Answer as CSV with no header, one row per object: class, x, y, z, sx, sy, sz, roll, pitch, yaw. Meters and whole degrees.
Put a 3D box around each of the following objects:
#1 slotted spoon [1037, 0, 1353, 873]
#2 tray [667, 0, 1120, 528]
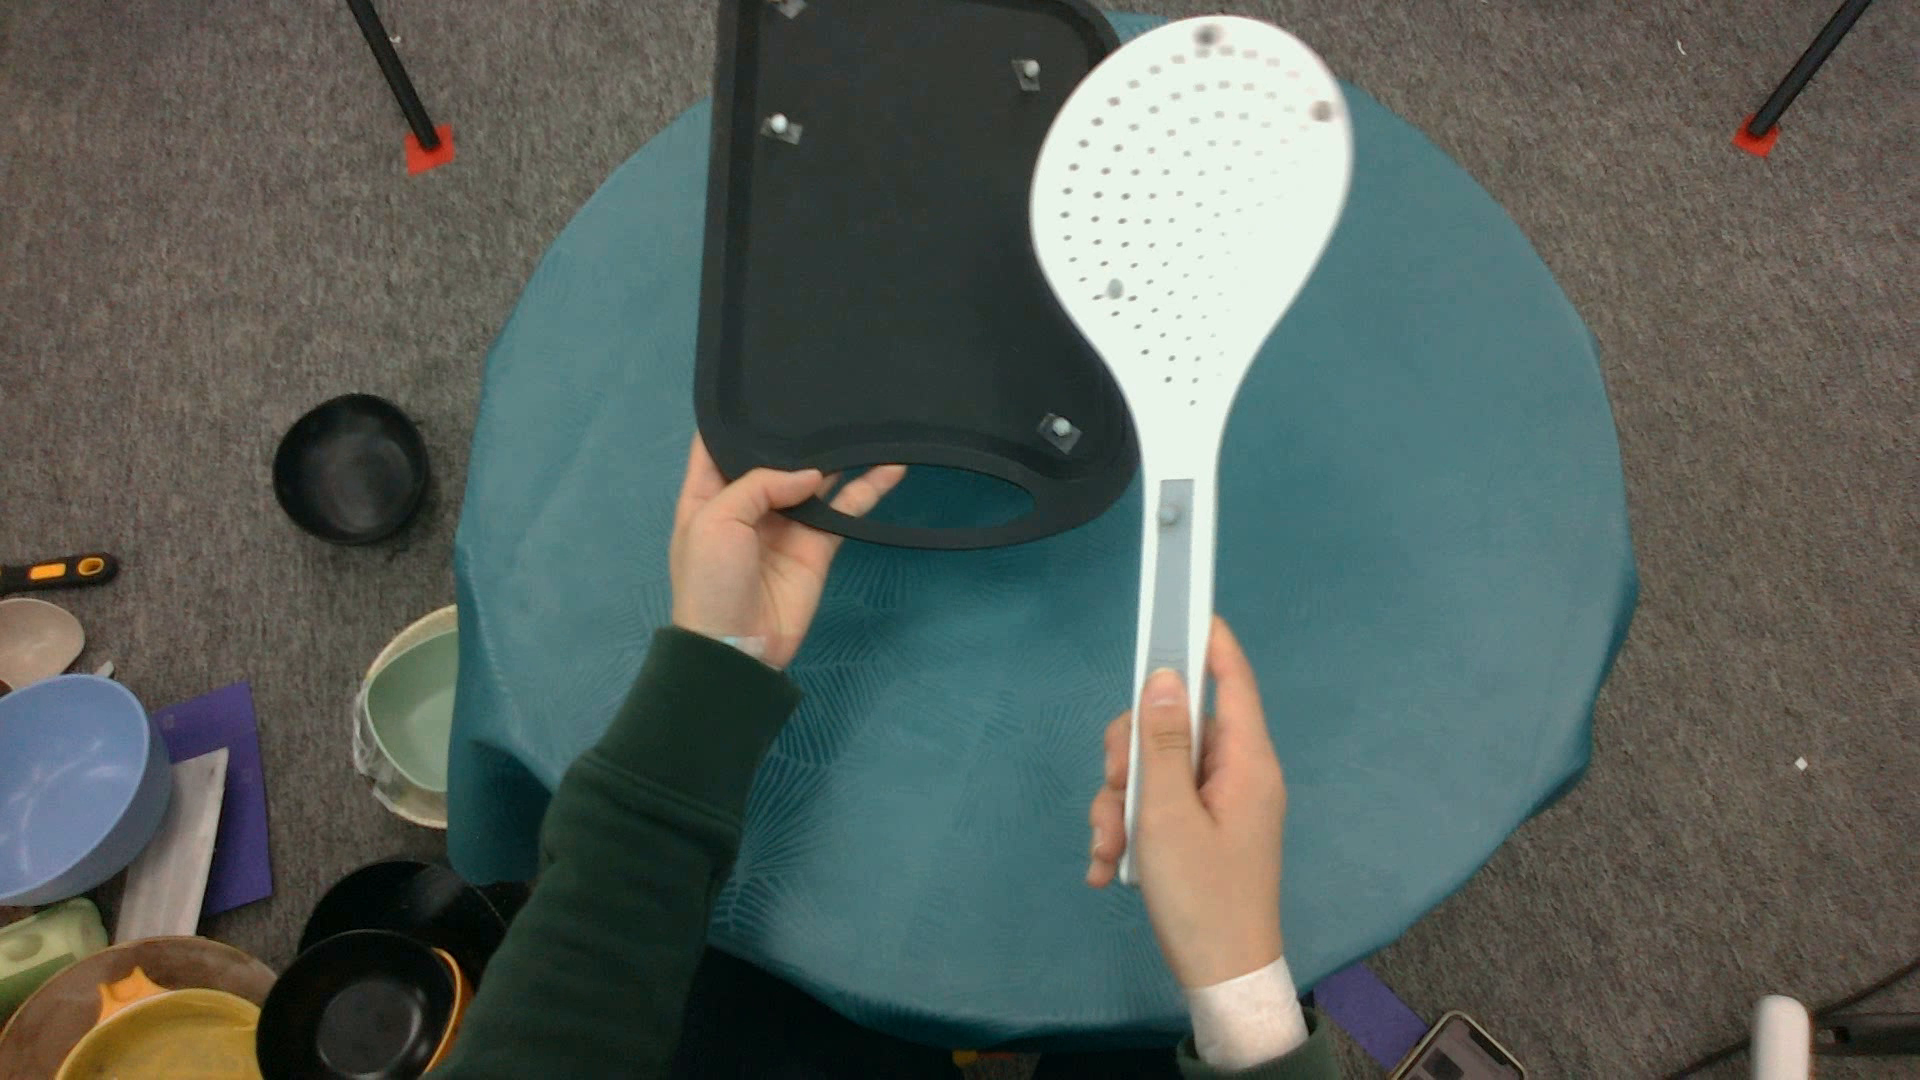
slotted spoon,0.084,-0.048,0.546,0.136,0.046,0.350,0,74,31
tray,-0.027,-0.159,0.658,0.211,0.010,0.326,4,69,-13
